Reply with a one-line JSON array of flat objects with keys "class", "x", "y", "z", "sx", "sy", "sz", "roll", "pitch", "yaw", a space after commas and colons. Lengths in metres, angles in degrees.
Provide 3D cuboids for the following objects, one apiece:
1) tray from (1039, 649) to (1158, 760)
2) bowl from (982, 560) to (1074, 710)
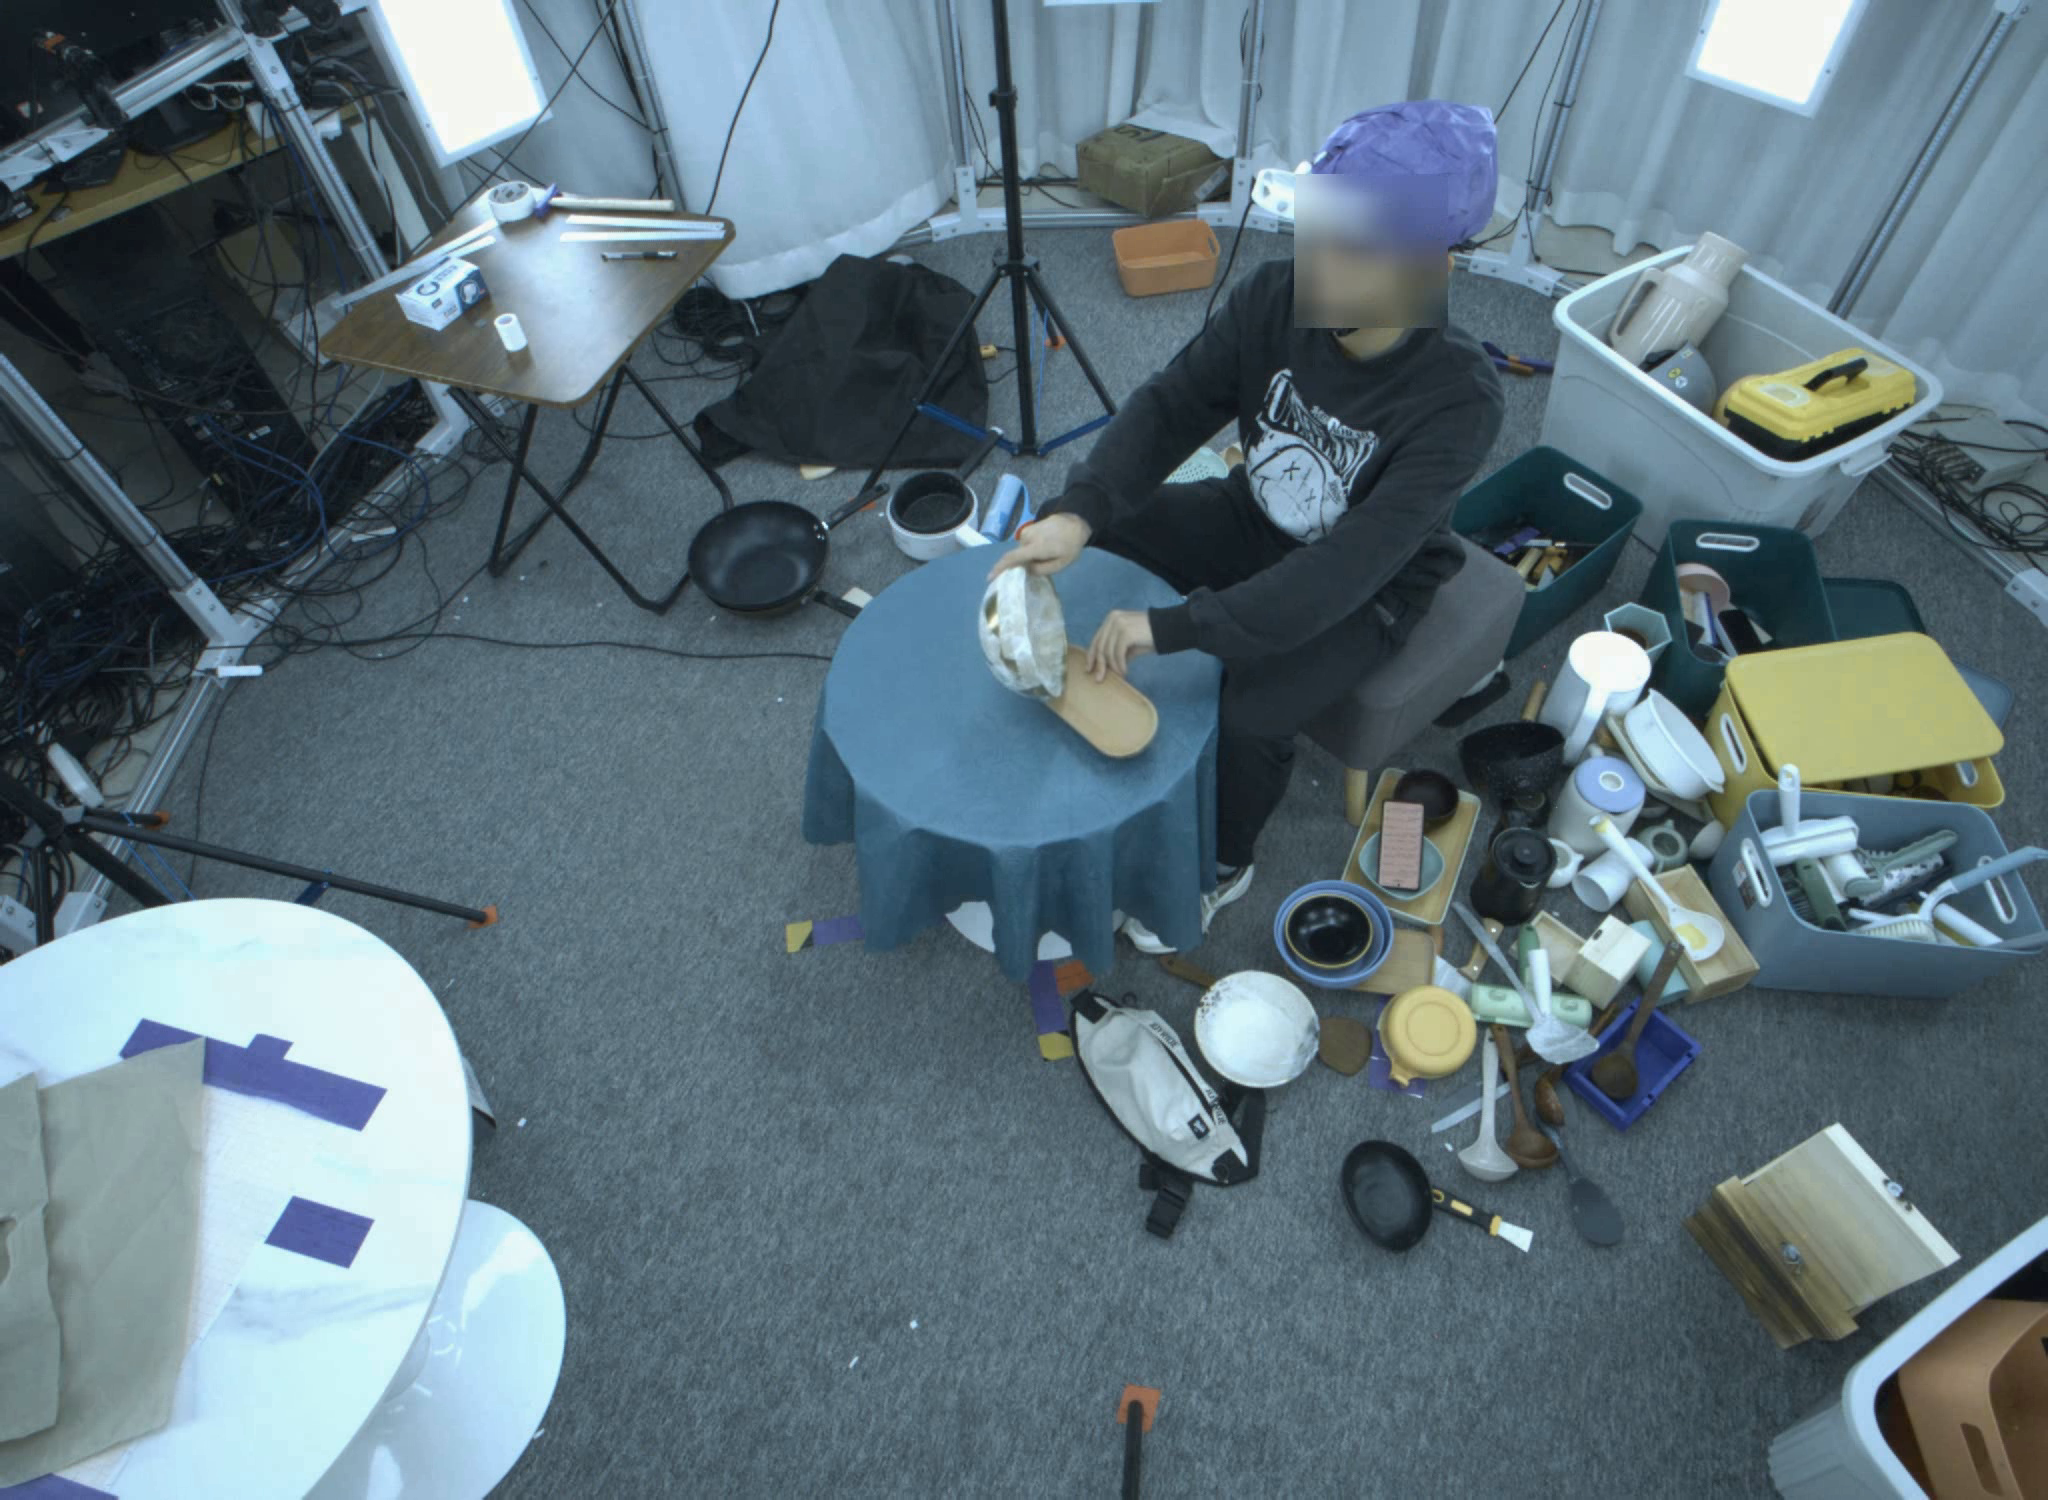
[{"class": "tray", "x": 0.101, "y": -0.067, "z": 1.794, "sx": 0.102, "sy": 0.021, "sz": 0.226, "roll": -44, "pitch": 58, "yaw": -8}, {"class": "bowl", "x": -0.004, "y": -0.156, "z": 1.745, "sx": 0.093, "sy": 0.219, "sz": 0.213, "roll": -9, "pitch": 54, "yaw": 18}]
